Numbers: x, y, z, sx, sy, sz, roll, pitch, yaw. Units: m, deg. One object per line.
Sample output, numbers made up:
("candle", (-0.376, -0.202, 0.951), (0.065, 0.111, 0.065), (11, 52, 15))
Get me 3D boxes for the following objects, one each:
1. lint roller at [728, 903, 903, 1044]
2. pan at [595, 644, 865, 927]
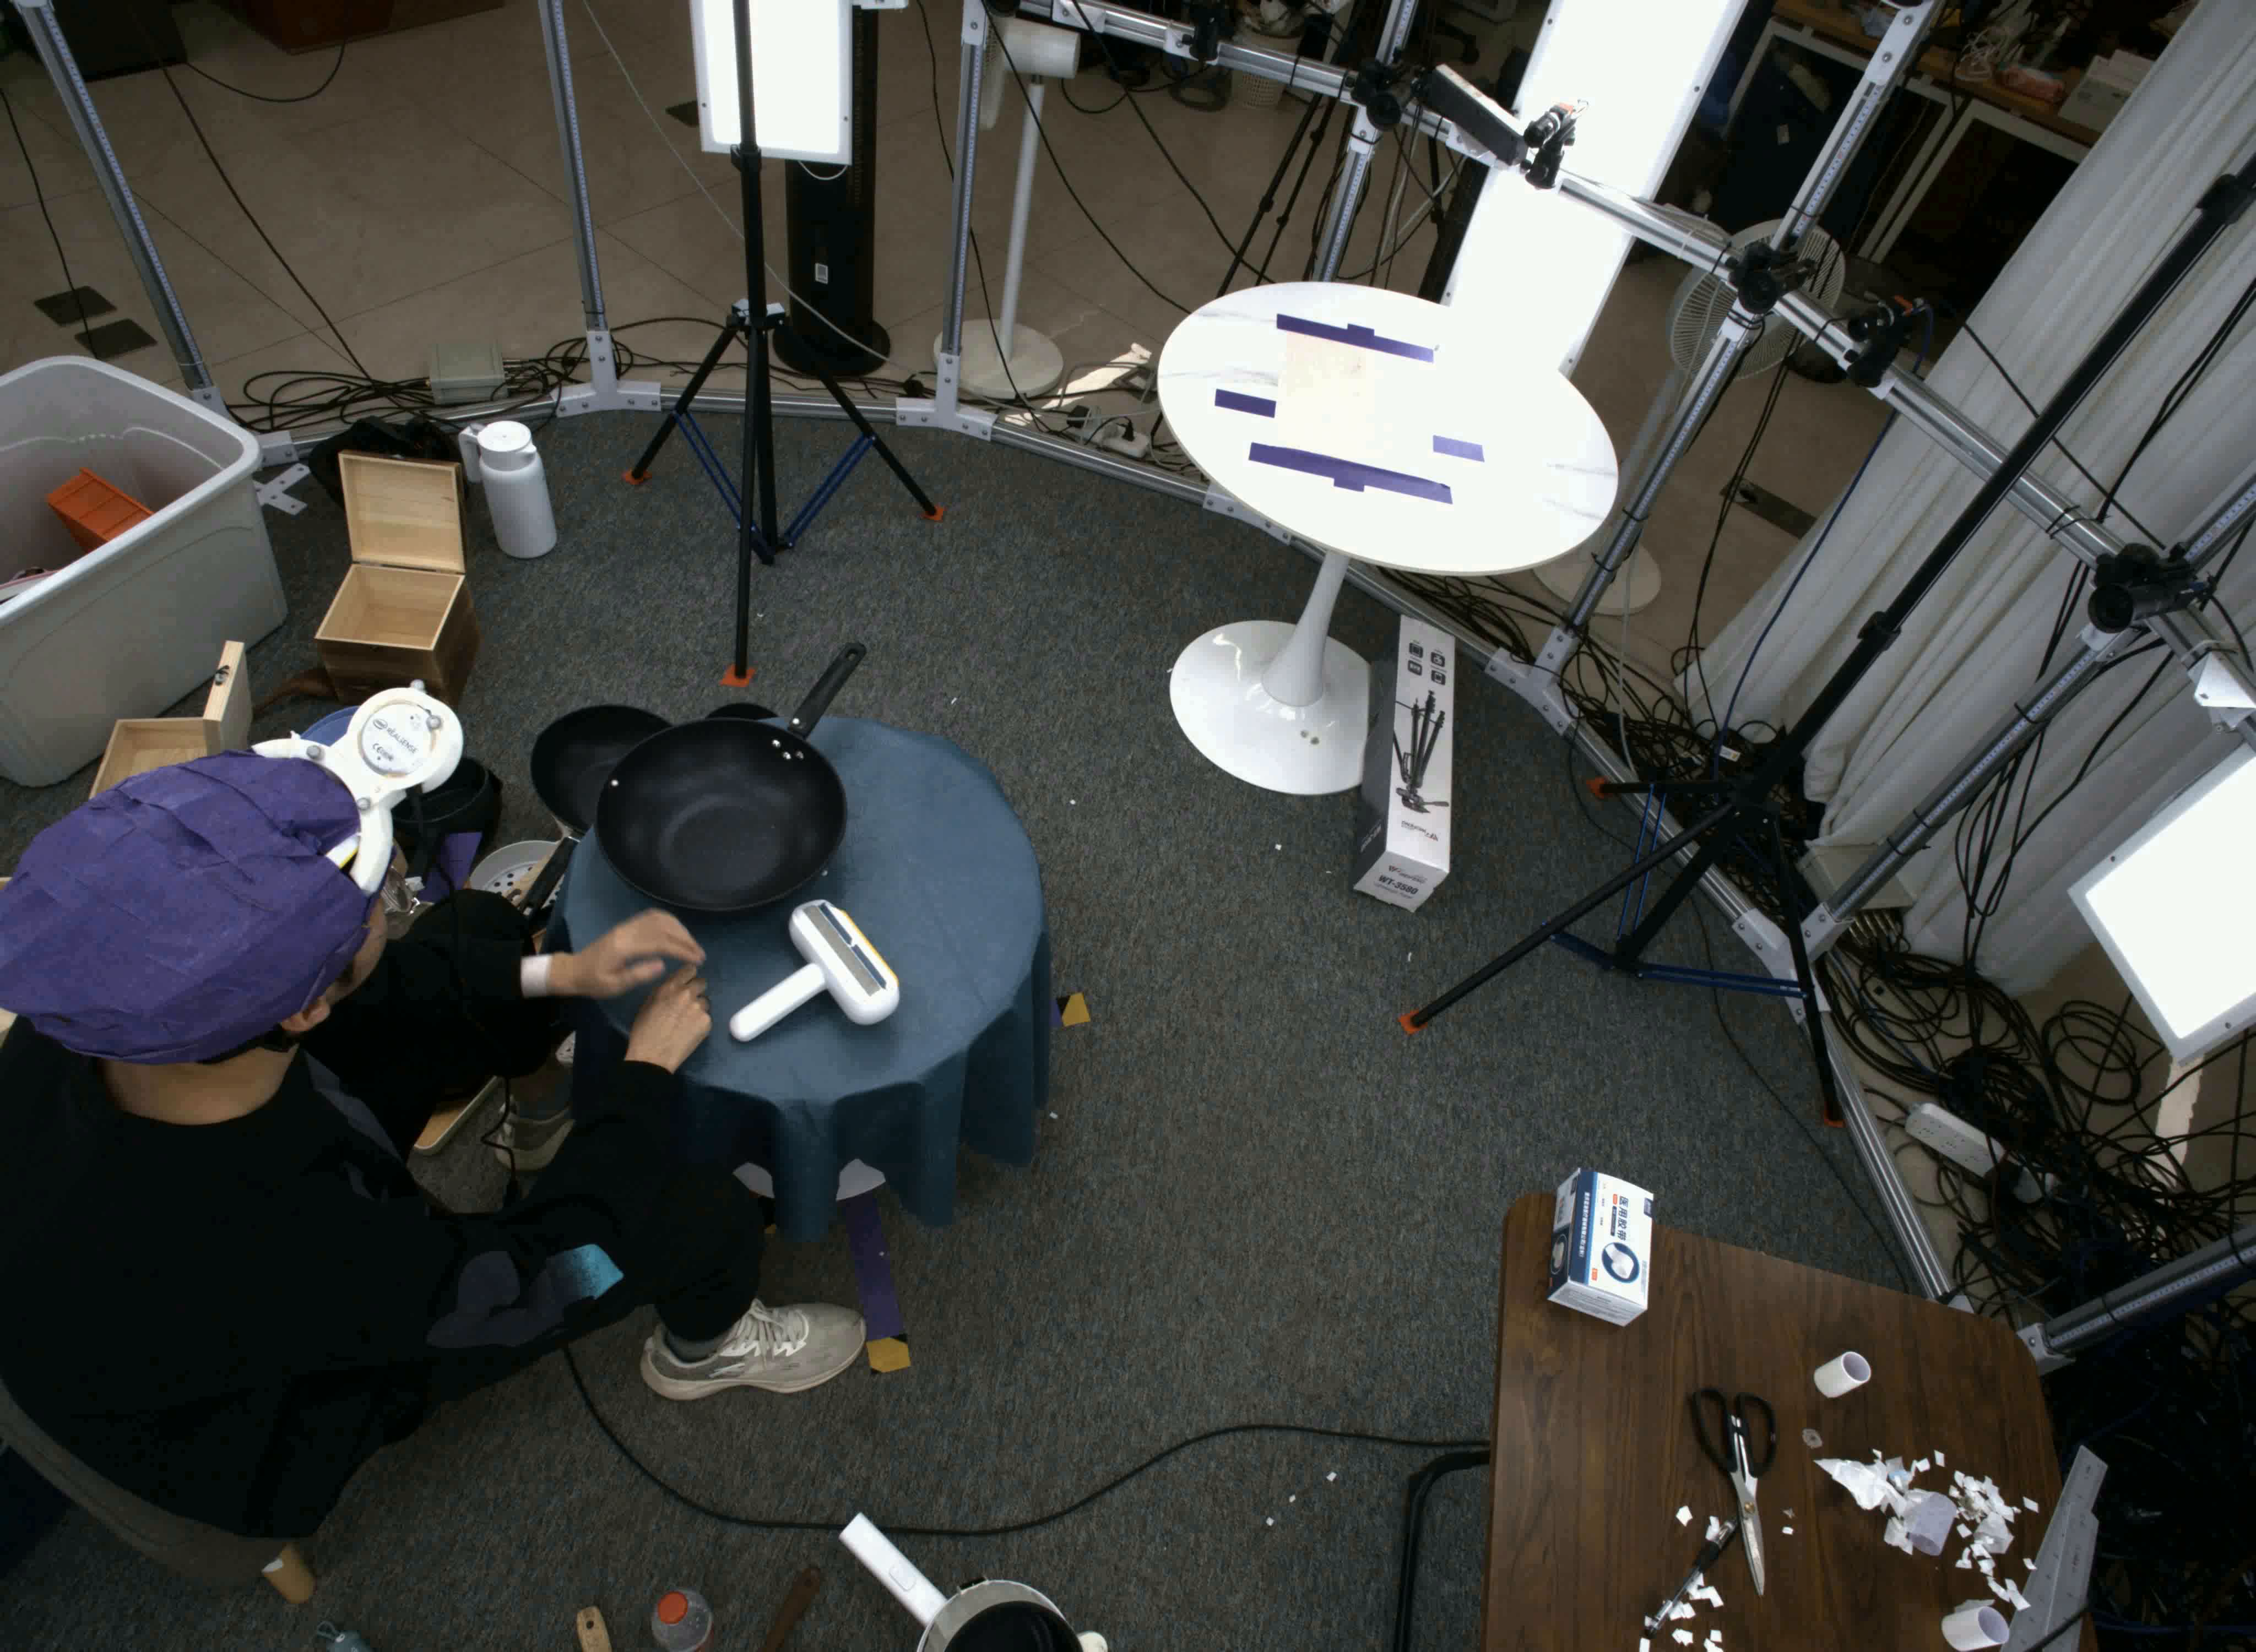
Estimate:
("lint roller", (-0.390, 0.193, 1.553), (0.193, 0.076, 0.187), (-24, 58, -26))
("pan", (-0.481, -0.055, 1.686), (0.307, 0.113, 0.474), (28, 53, 4))
